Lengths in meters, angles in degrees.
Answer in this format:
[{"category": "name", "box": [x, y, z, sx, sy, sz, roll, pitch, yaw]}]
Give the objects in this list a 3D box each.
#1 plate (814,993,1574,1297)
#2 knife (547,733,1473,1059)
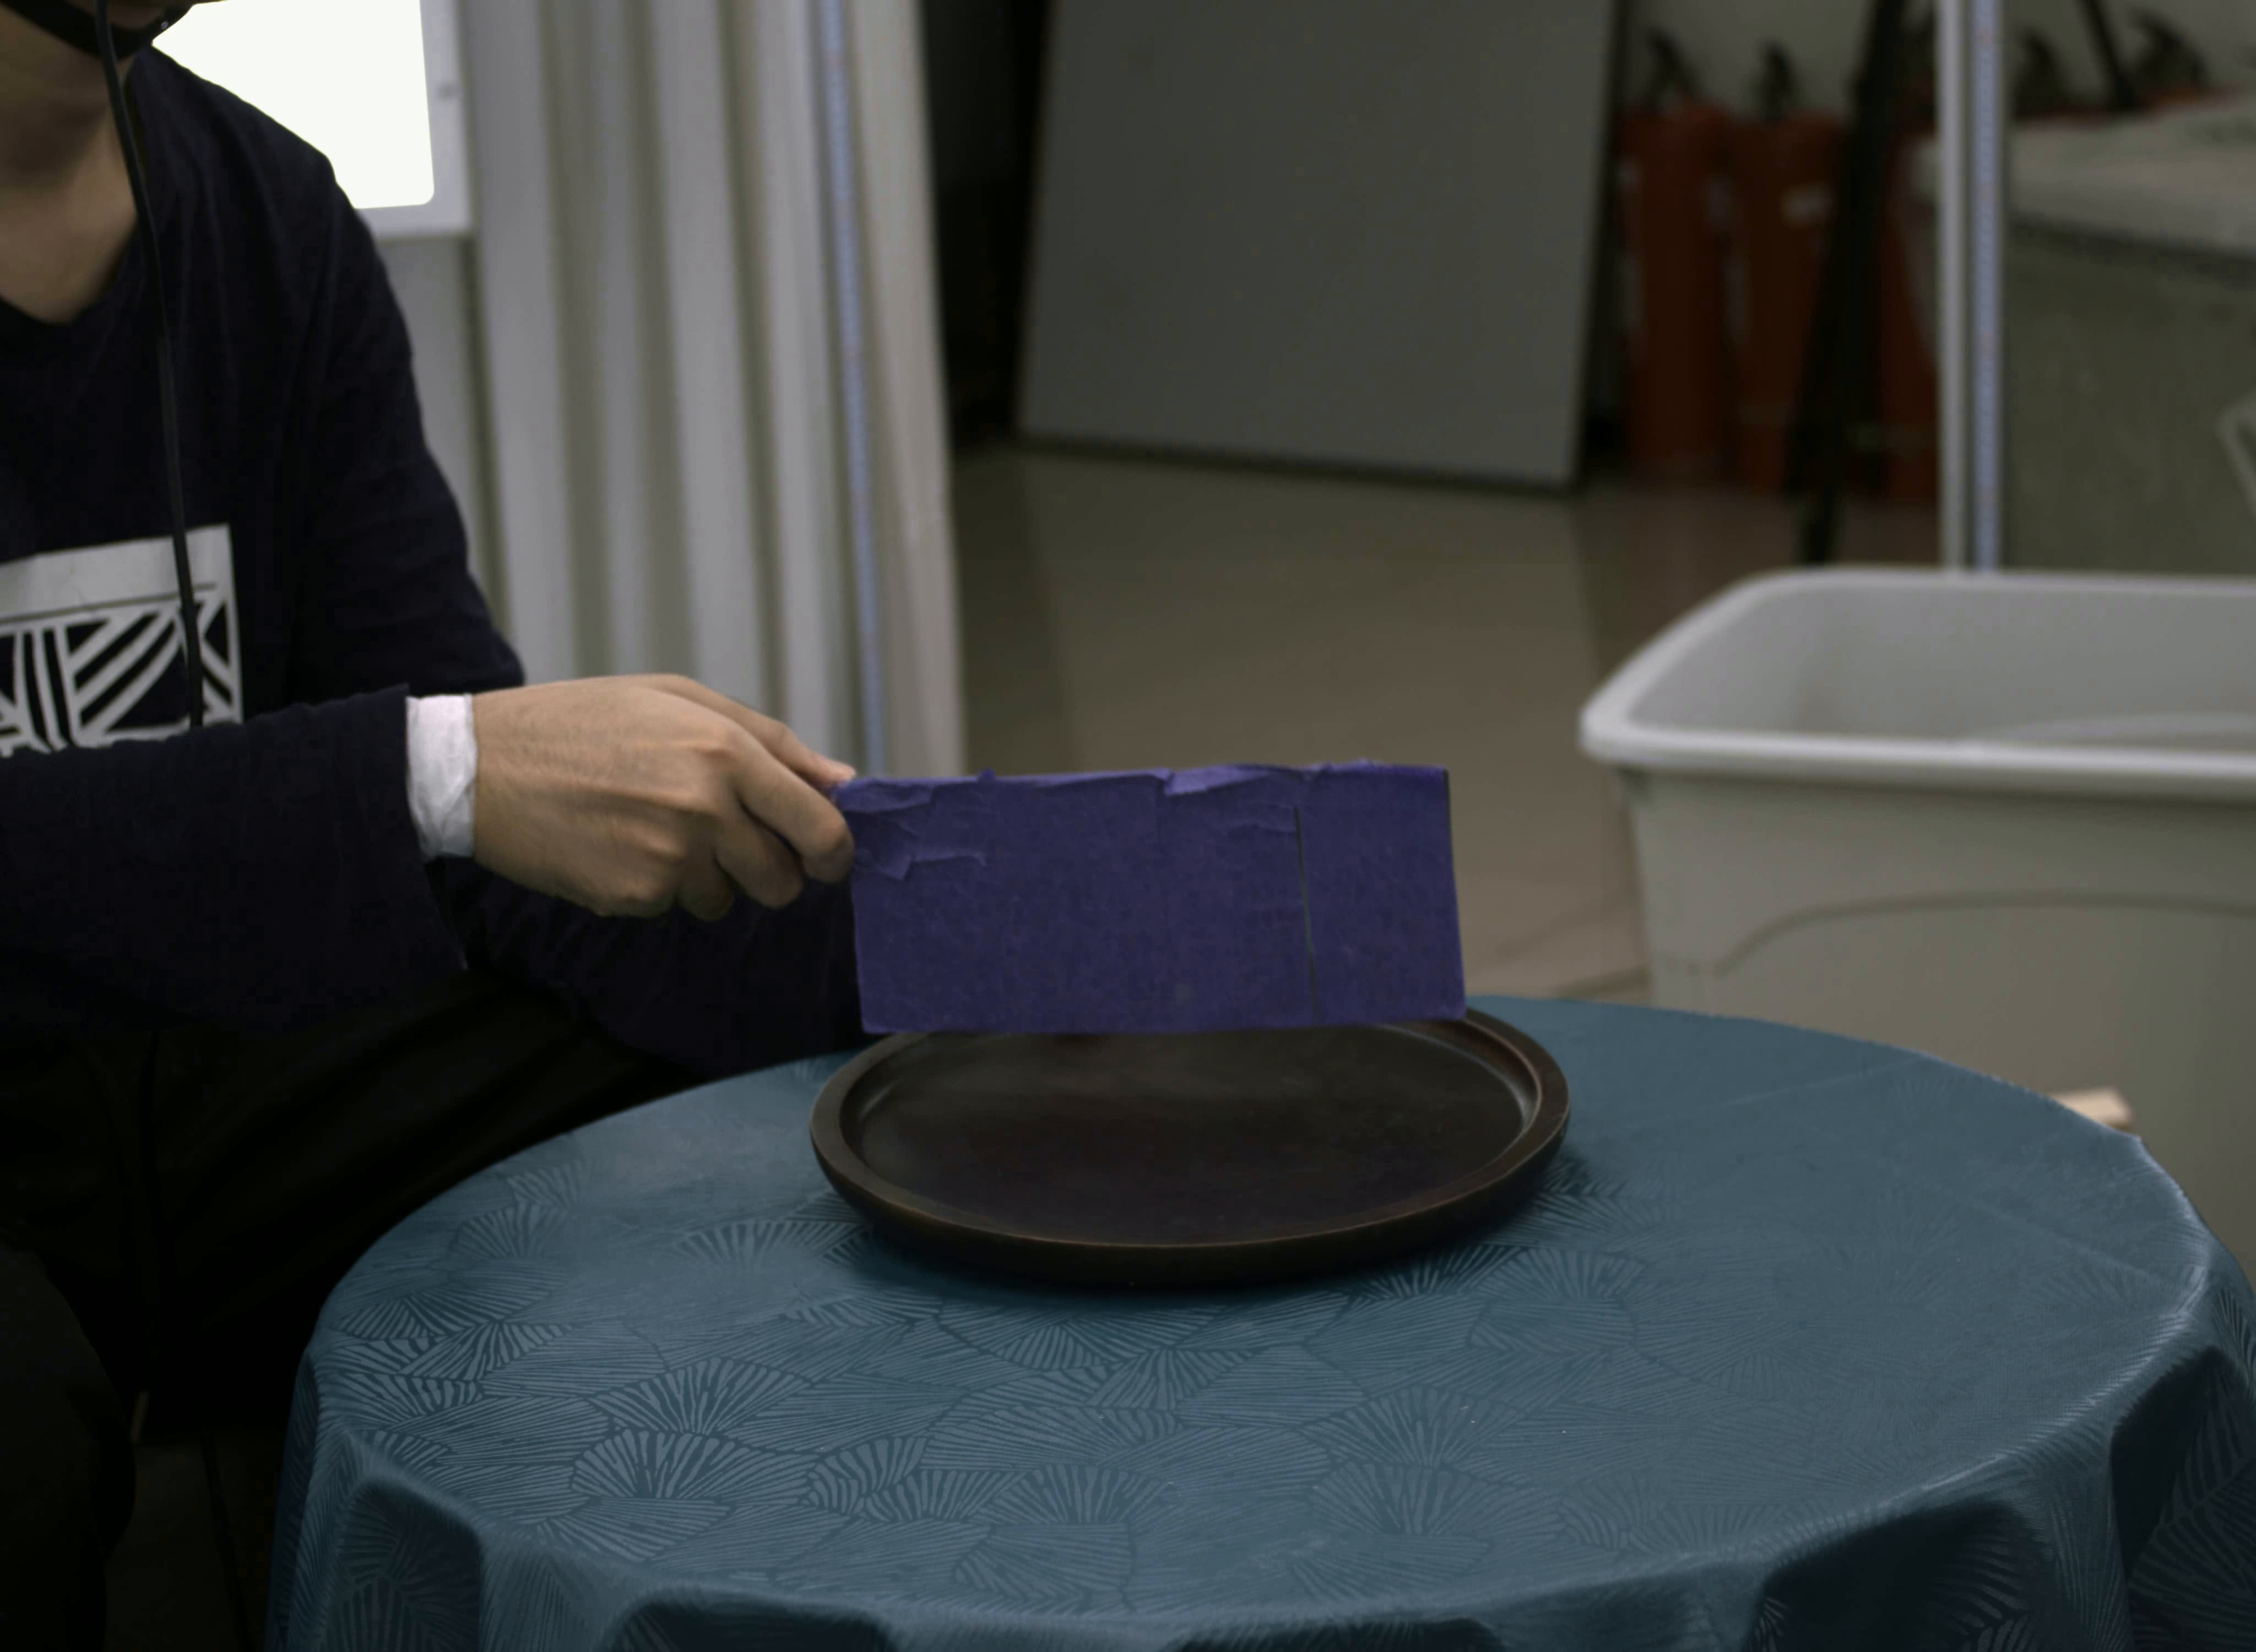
[{"category": "plate", "box": [0.022, 0.101, 1.772, 0.251, 0.029, 0.255, -2, 18, 0]}, {"category": "knife", "box": [-0.041, 0.027, 1.810, 0.313, 0.105, 0.032, -2, 10, 13]}]
